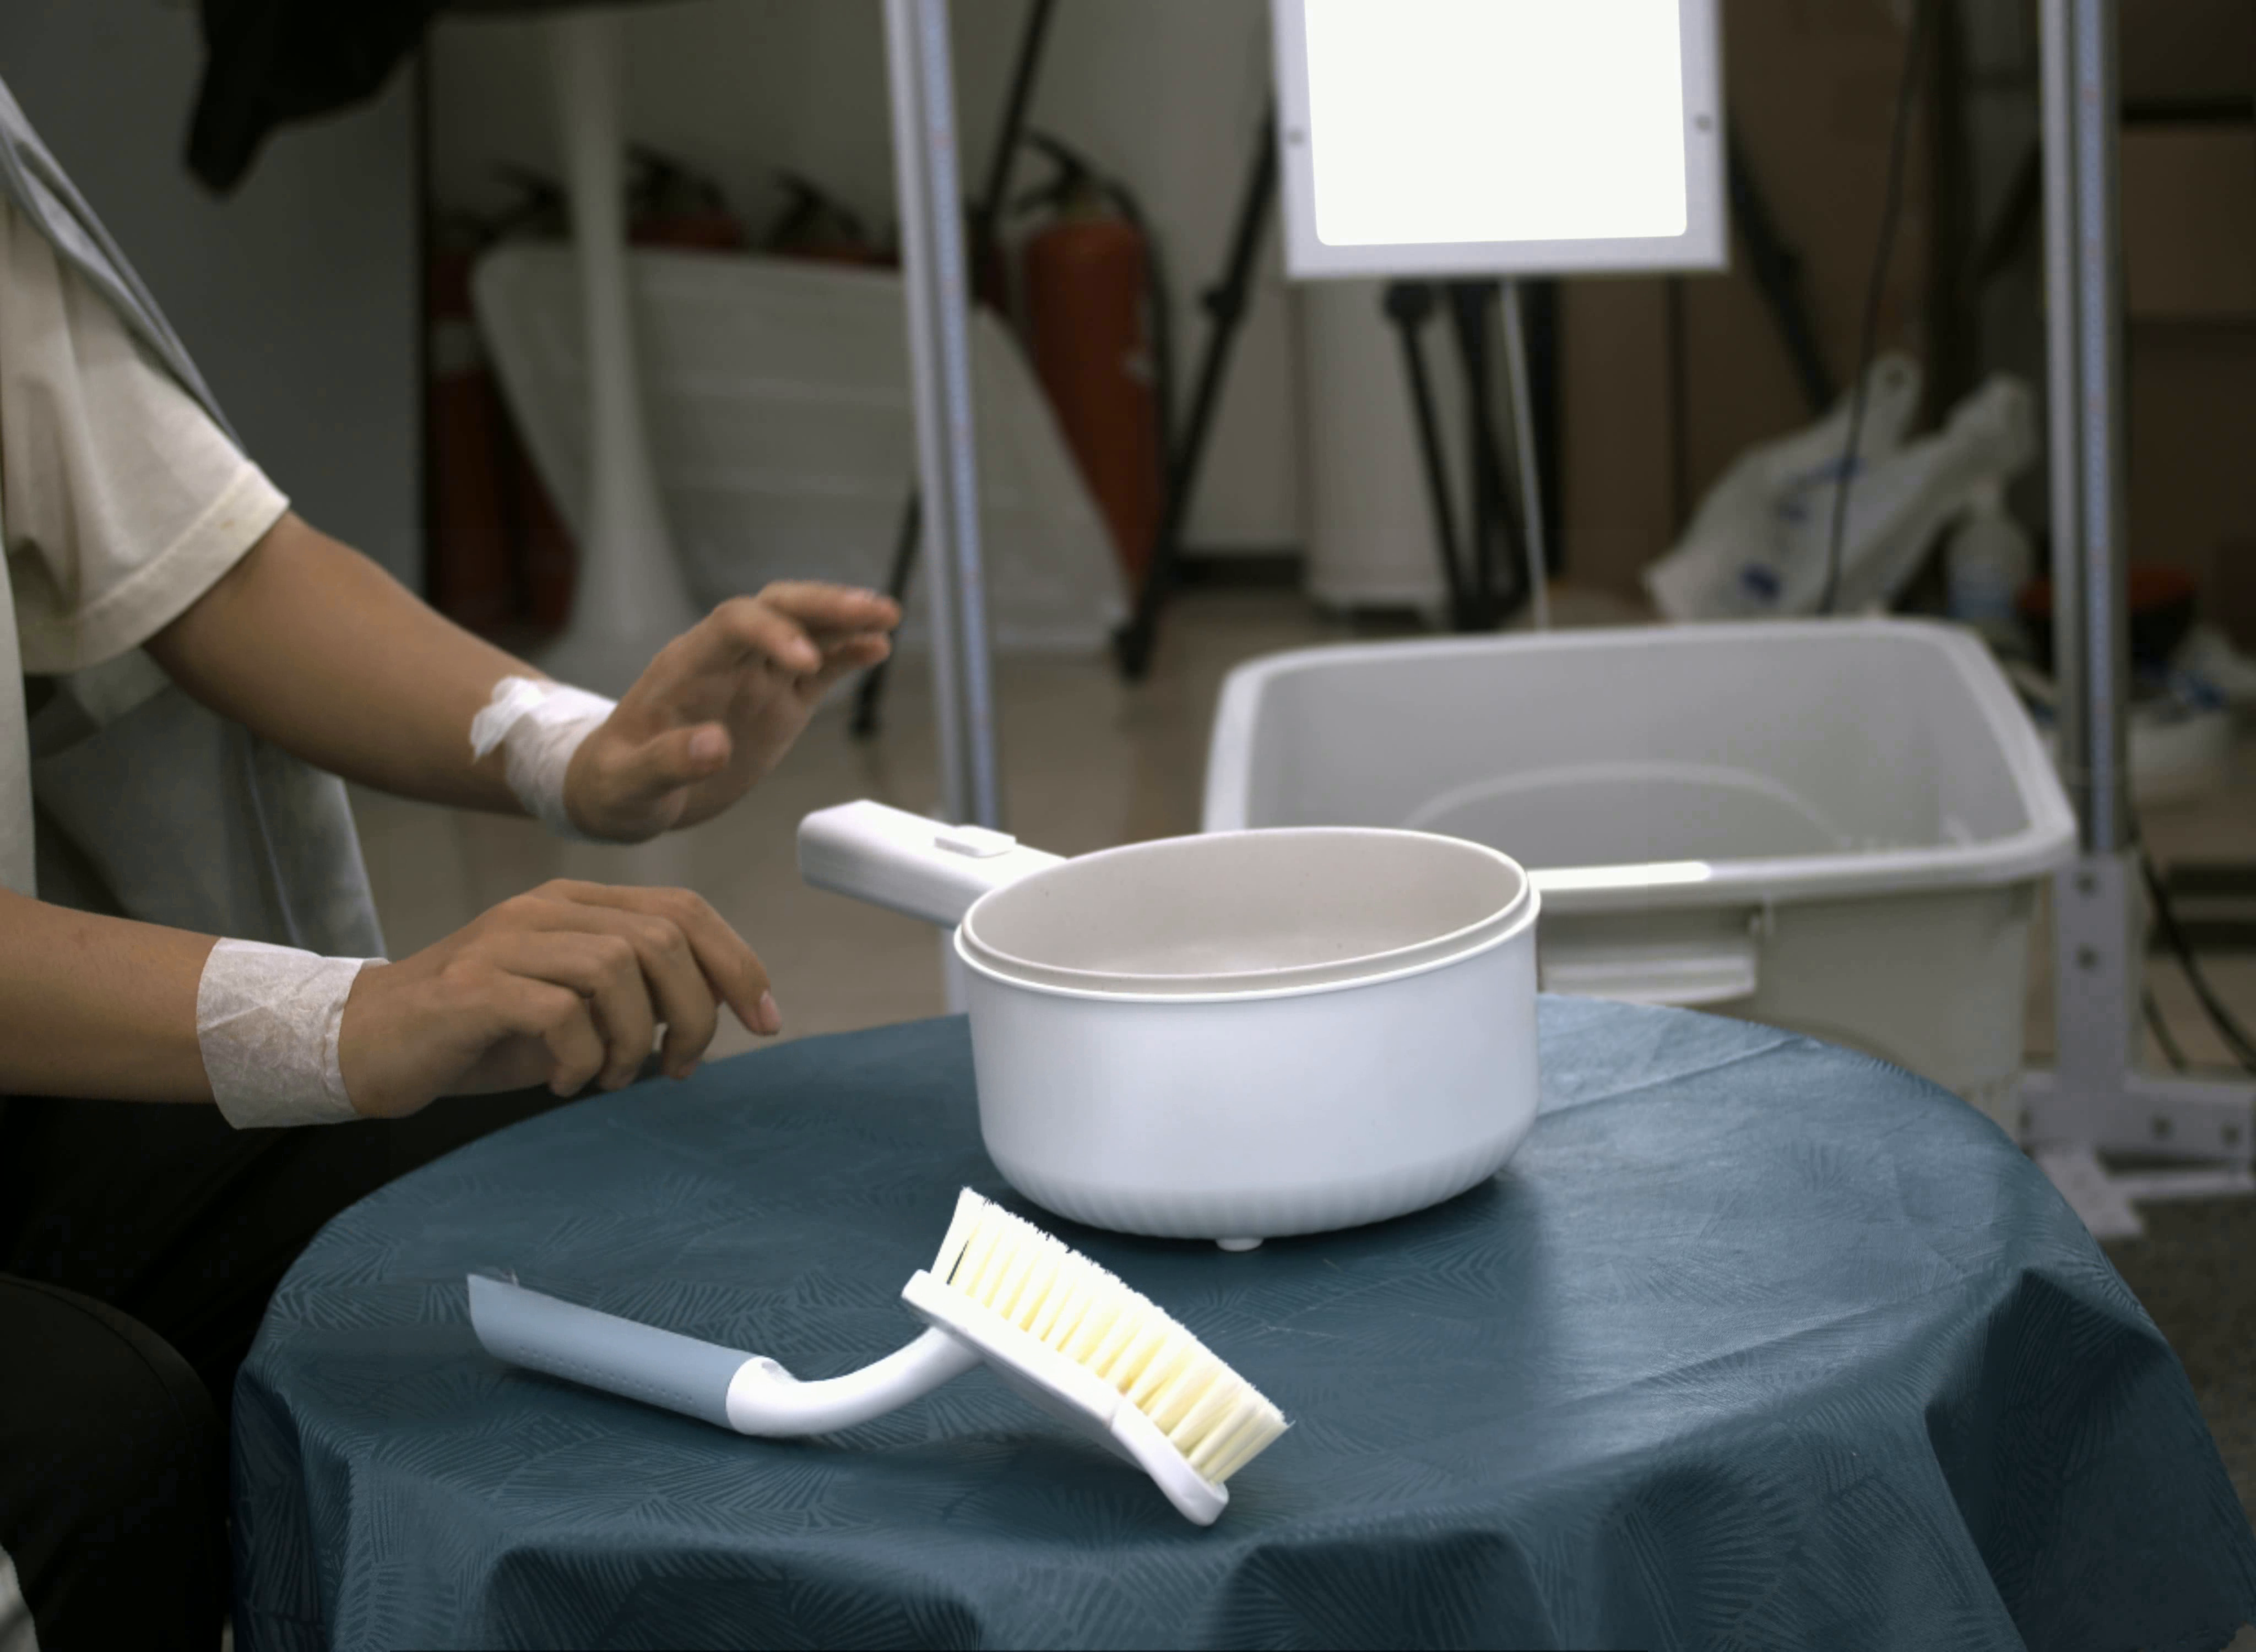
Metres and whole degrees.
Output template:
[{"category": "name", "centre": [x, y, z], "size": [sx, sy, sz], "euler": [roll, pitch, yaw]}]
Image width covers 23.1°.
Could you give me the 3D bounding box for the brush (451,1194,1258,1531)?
[{"category": "brush", "centre": [-0.086, 0.143, 1.685], "size": [0.332, 0.083, 0.082], "euler": [10, 27, 43]}]

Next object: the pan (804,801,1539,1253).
[{"category": "pan", "centre": [-0.002, 0.063, 1.949], "size": [0.196, 0.102, 0.362], "euler": [-15, 16, -33]}]
